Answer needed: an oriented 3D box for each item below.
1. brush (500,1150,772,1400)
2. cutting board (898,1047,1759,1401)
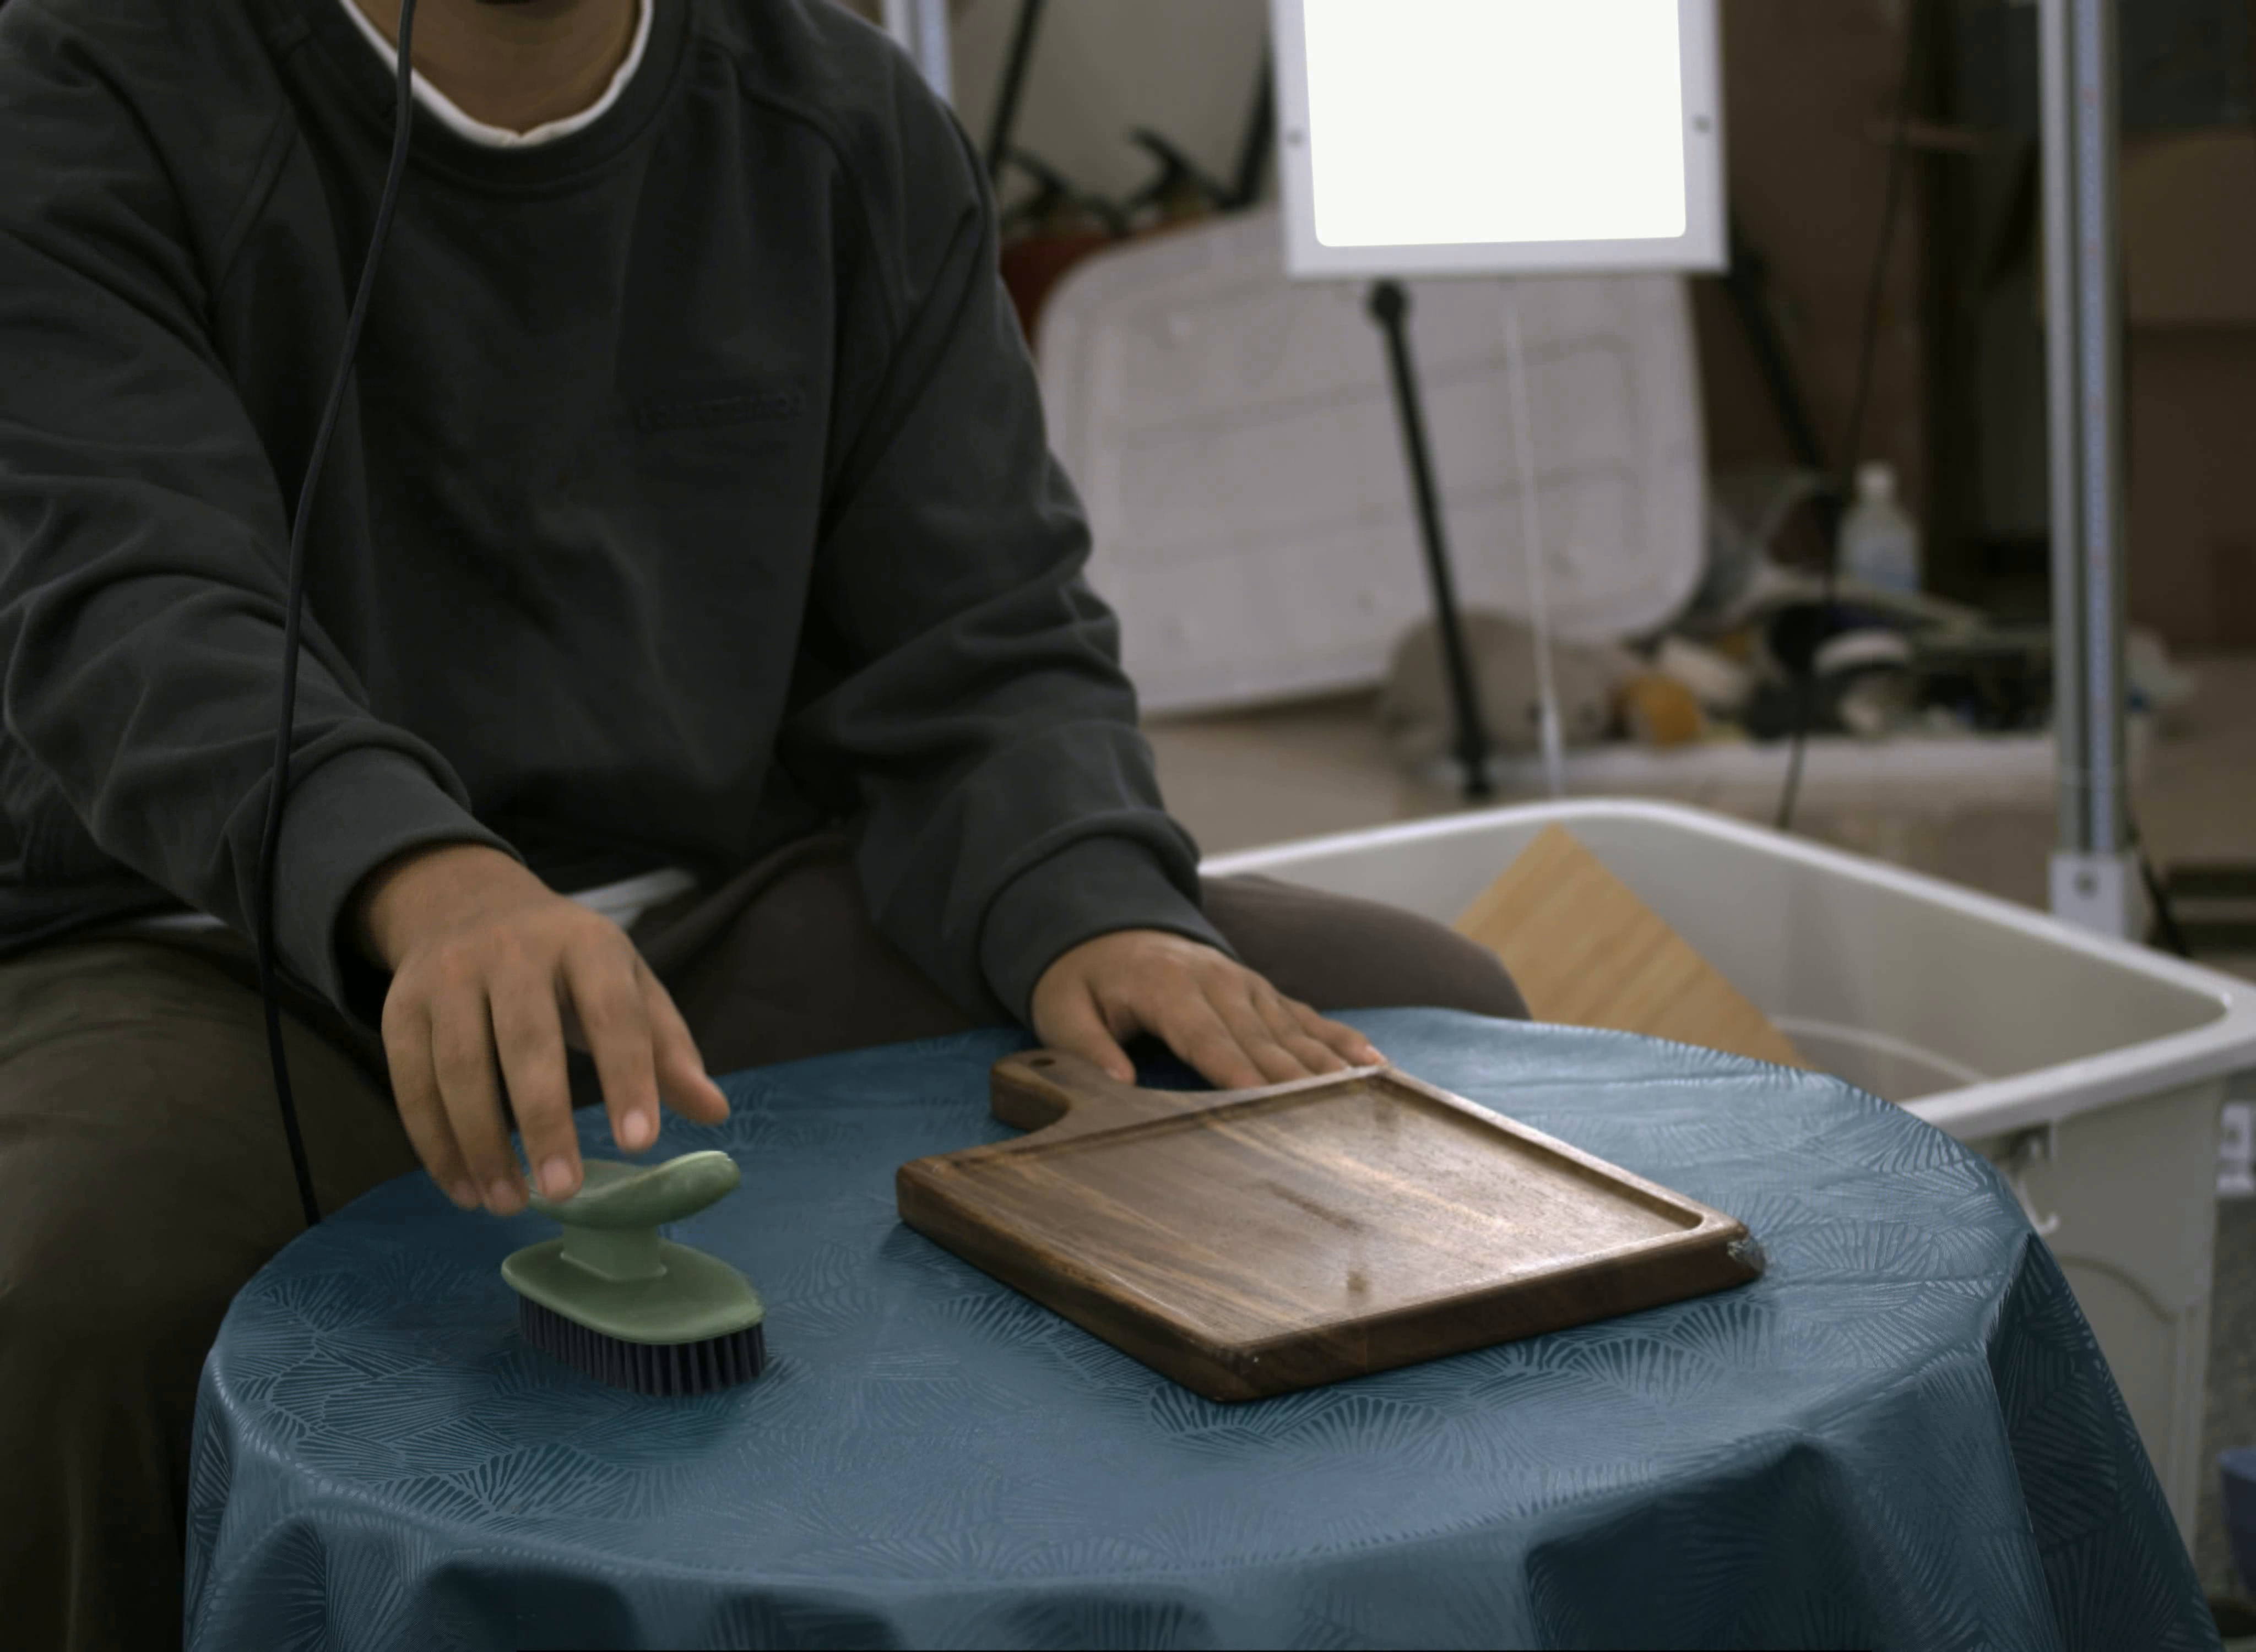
[{"bbox_3d":[-0.158,0.144,1.773,0.058,0.076,0.125,-12,1,-31],"label":"brush"},{"bbox_3d":[0.040,0.121,1.862,0.197,0.023,0.358,-11,14,-24],"label":"cutting board"}]
